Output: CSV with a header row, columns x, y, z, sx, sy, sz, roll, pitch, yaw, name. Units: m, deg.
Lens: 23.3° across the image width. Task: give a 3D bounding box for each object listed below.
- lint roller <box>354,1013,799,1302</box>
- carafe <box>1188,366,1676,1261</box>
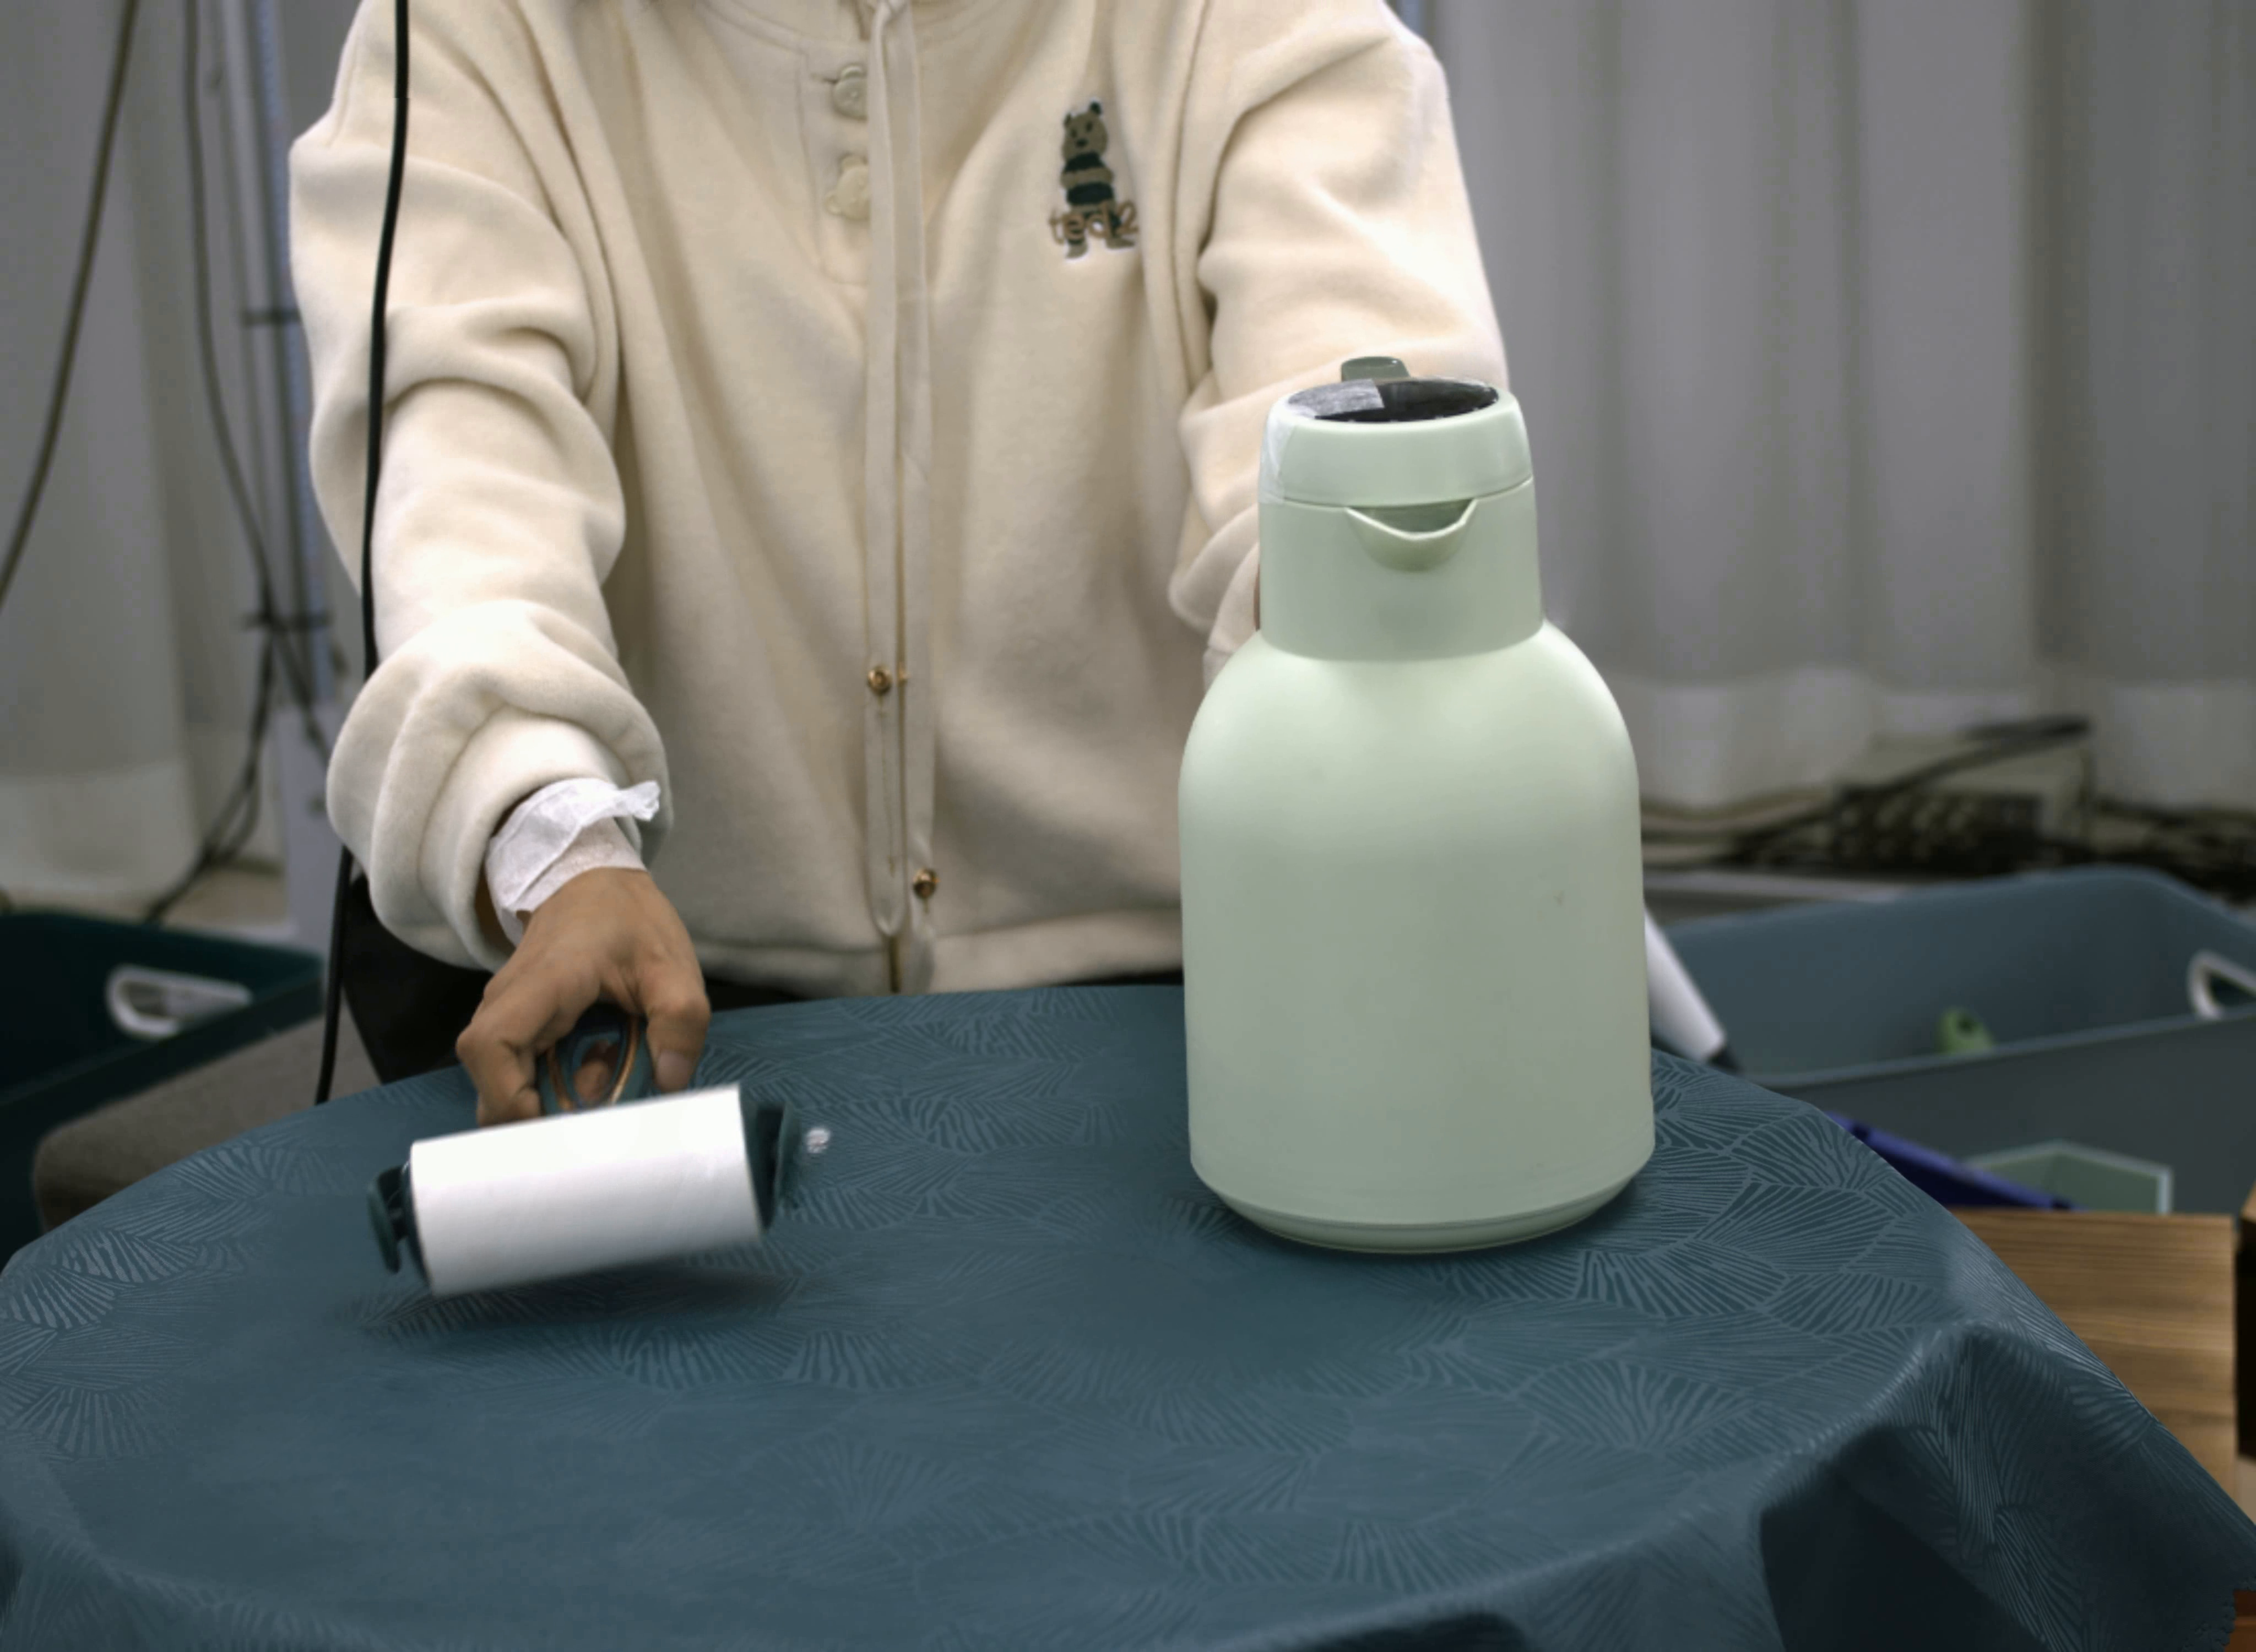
x,y,z,sx,sy,sz,roll,pitch,yaw,name
-0.168,0.084,1.690,0.134,0.048,0.182,-7,26,-1,lint roller
0.087,-0.009,1.682,0.144,0.256,0.188,-5,11,-3,carafe
